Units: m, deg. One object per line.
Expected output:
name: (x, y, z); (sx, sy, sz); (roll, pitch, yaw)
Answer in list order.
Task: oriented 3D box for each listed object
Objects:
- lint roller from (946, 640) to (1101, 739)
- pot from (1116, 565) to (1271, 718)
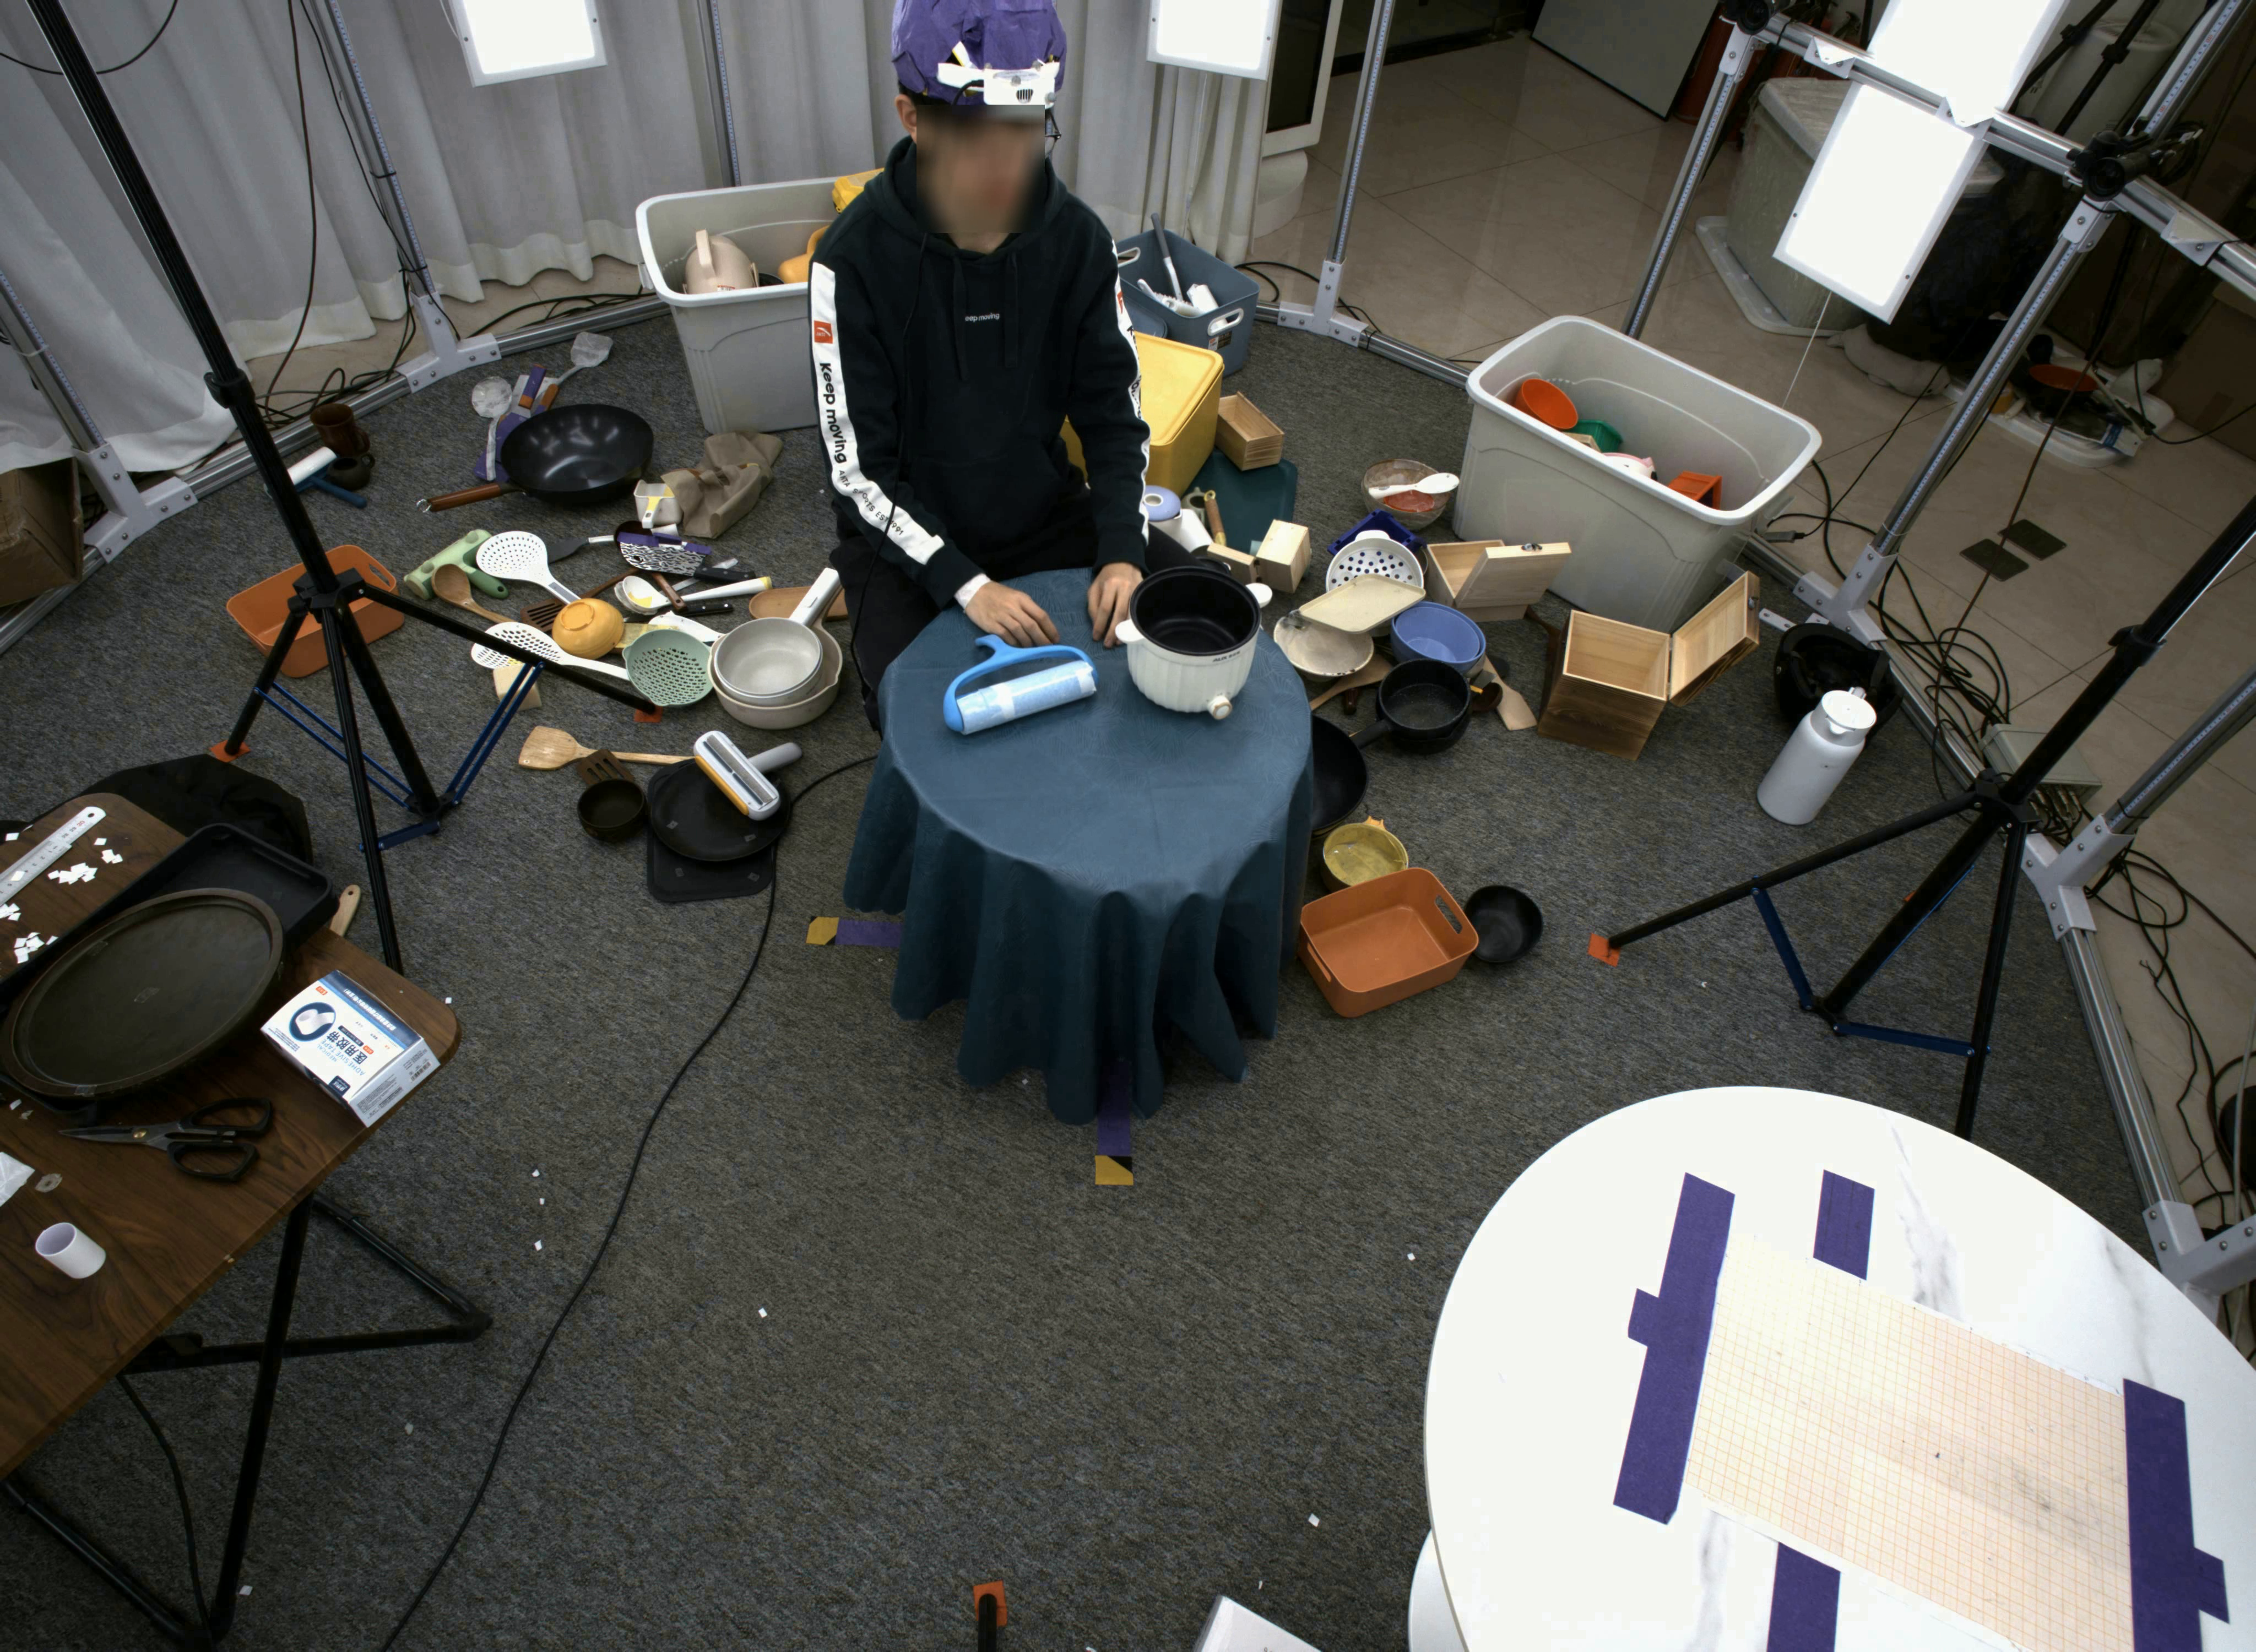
lint roller: (-0.171, -0.218, 1.811); (0.229, 0.066, 0.184); (-24, 55, -20)
pot: (0.093, -0.252, 1.803); (0.241, 0.139, 0.195); (-21, 51, -19)
